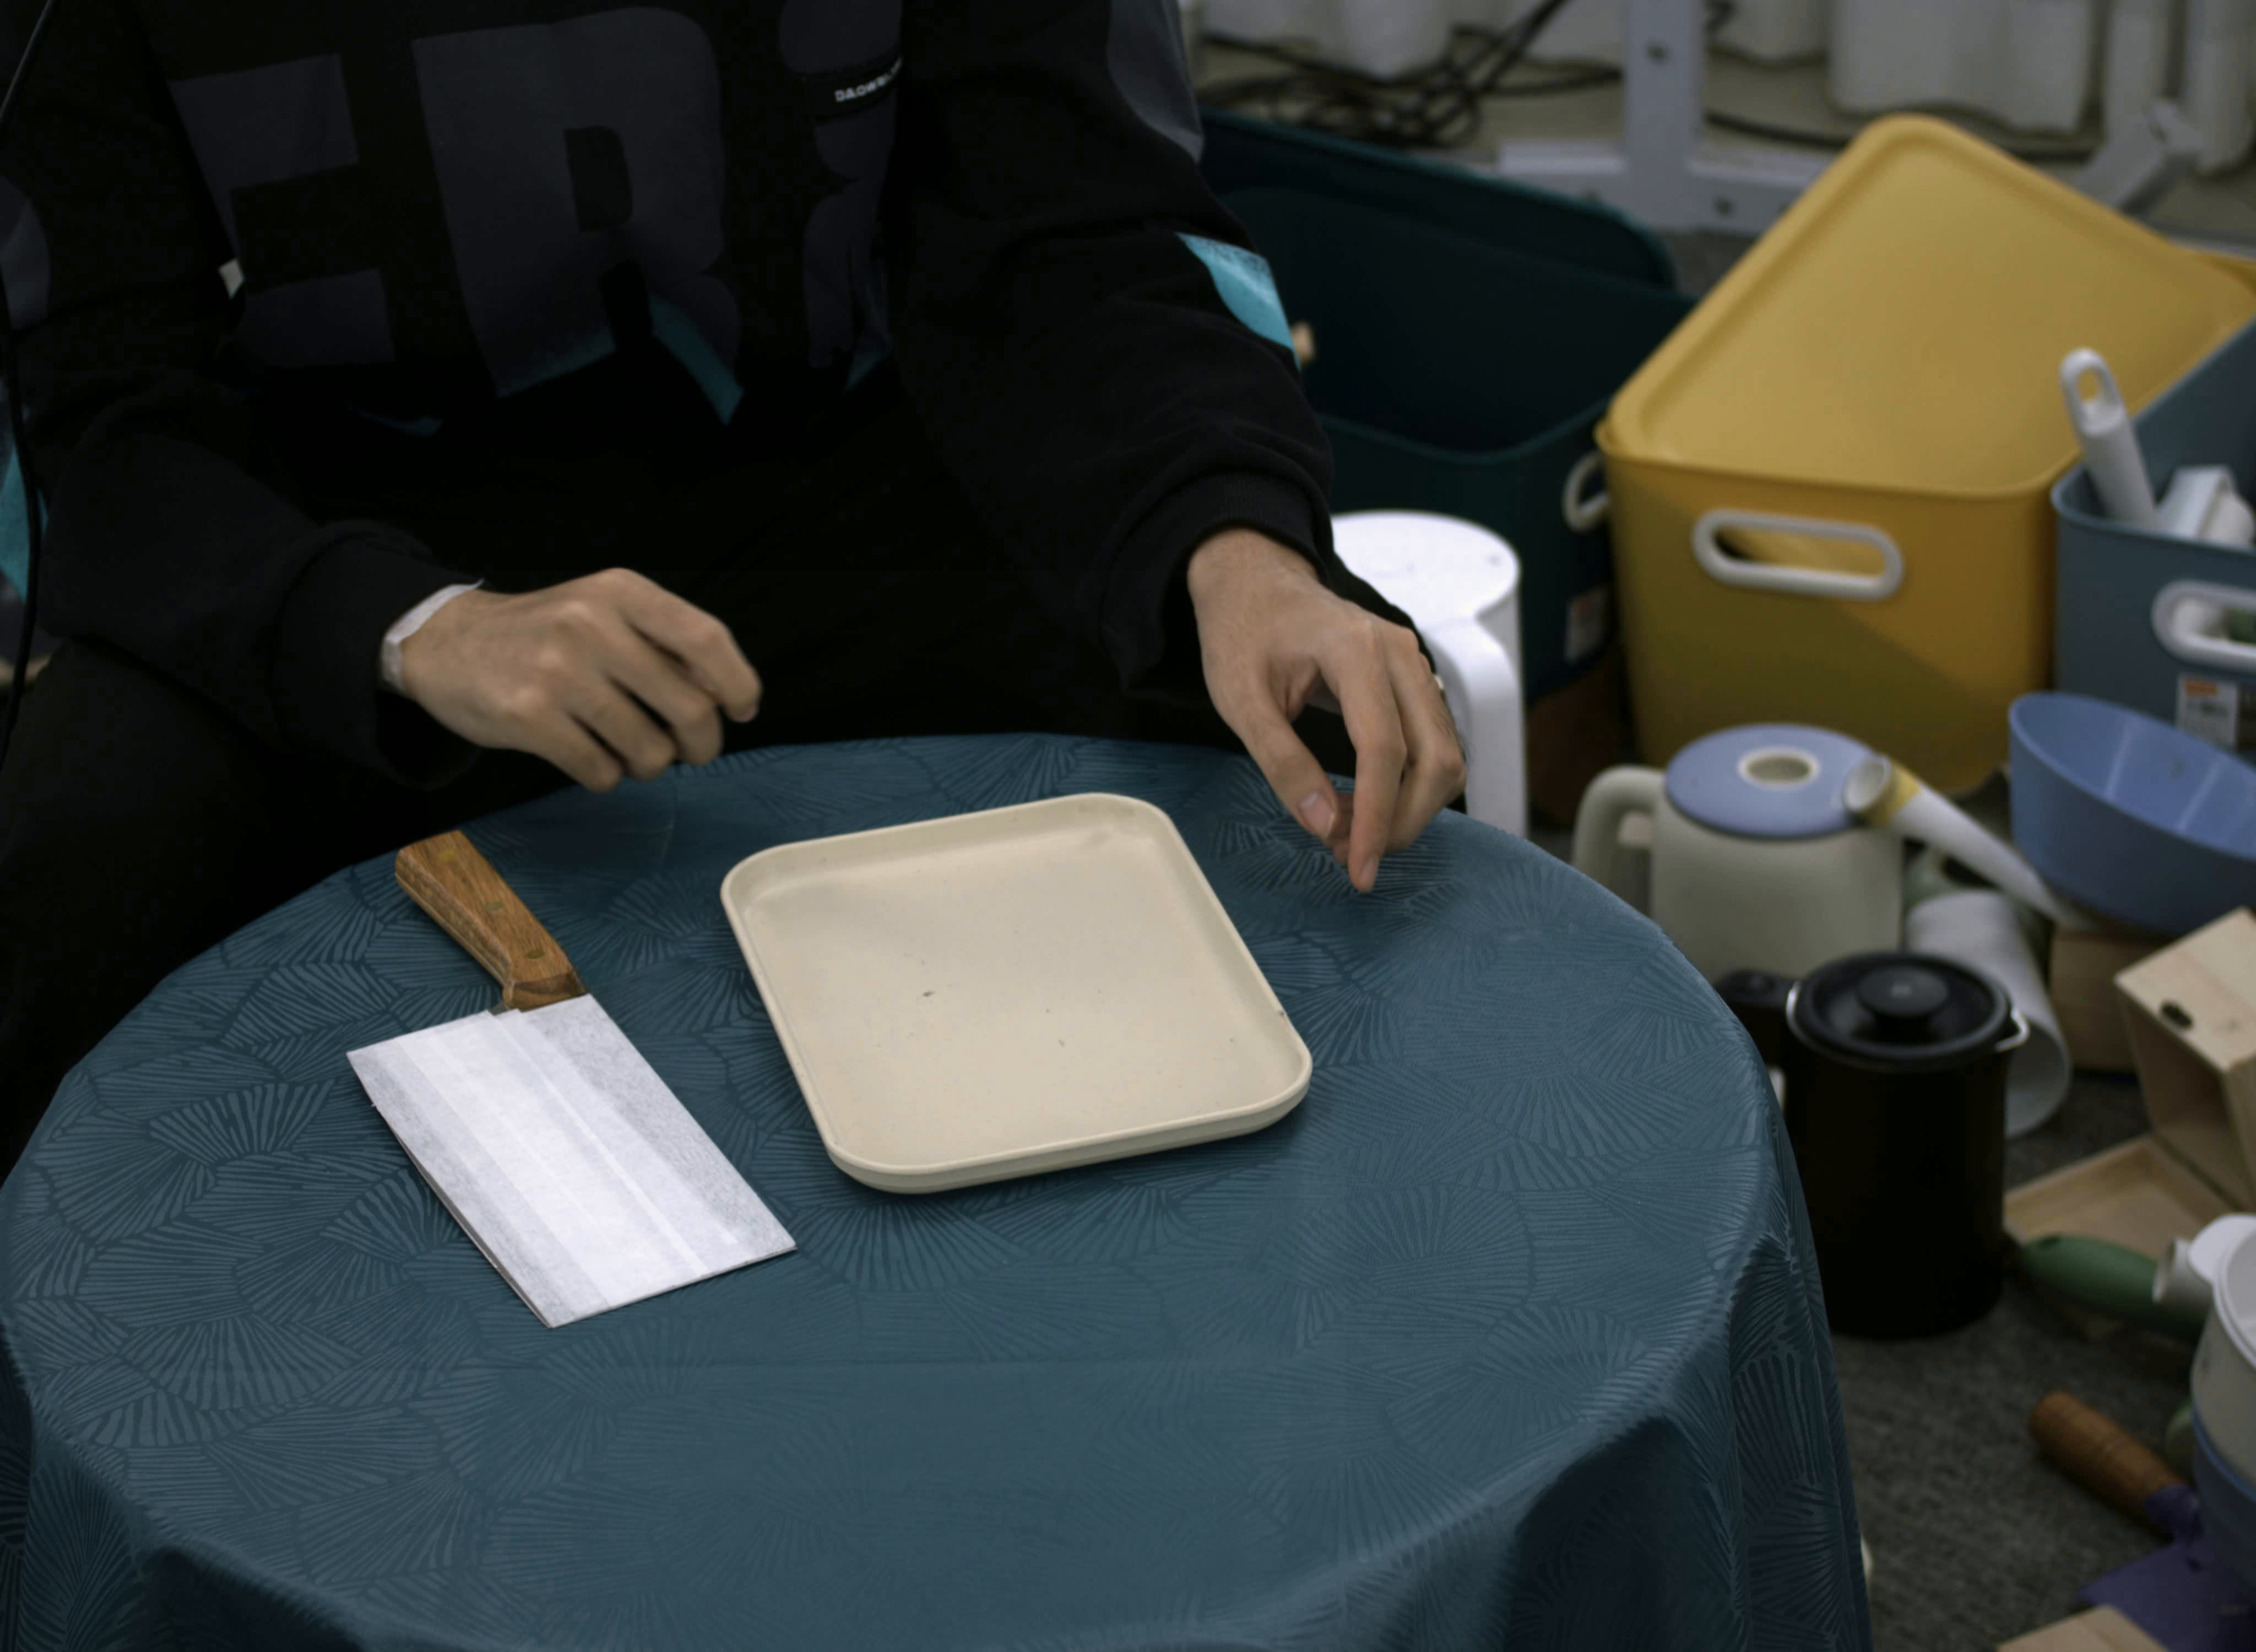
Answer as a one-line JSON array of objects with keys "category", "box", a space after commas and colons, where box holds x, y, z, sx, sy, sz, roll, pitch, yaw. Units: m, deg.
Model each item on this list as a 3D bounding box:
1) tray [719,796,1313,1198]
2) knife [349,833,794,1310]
[{"category": "tray", "box": [-0.042, 0.058, 1.967, 0.171, 0.017, 0.242, -10, 28, -12]}, {"category": "knife", "box": [-0.214, 0.084, 1.939, 0.093, 0.021, 0.308, -17, 33, -22]}]
